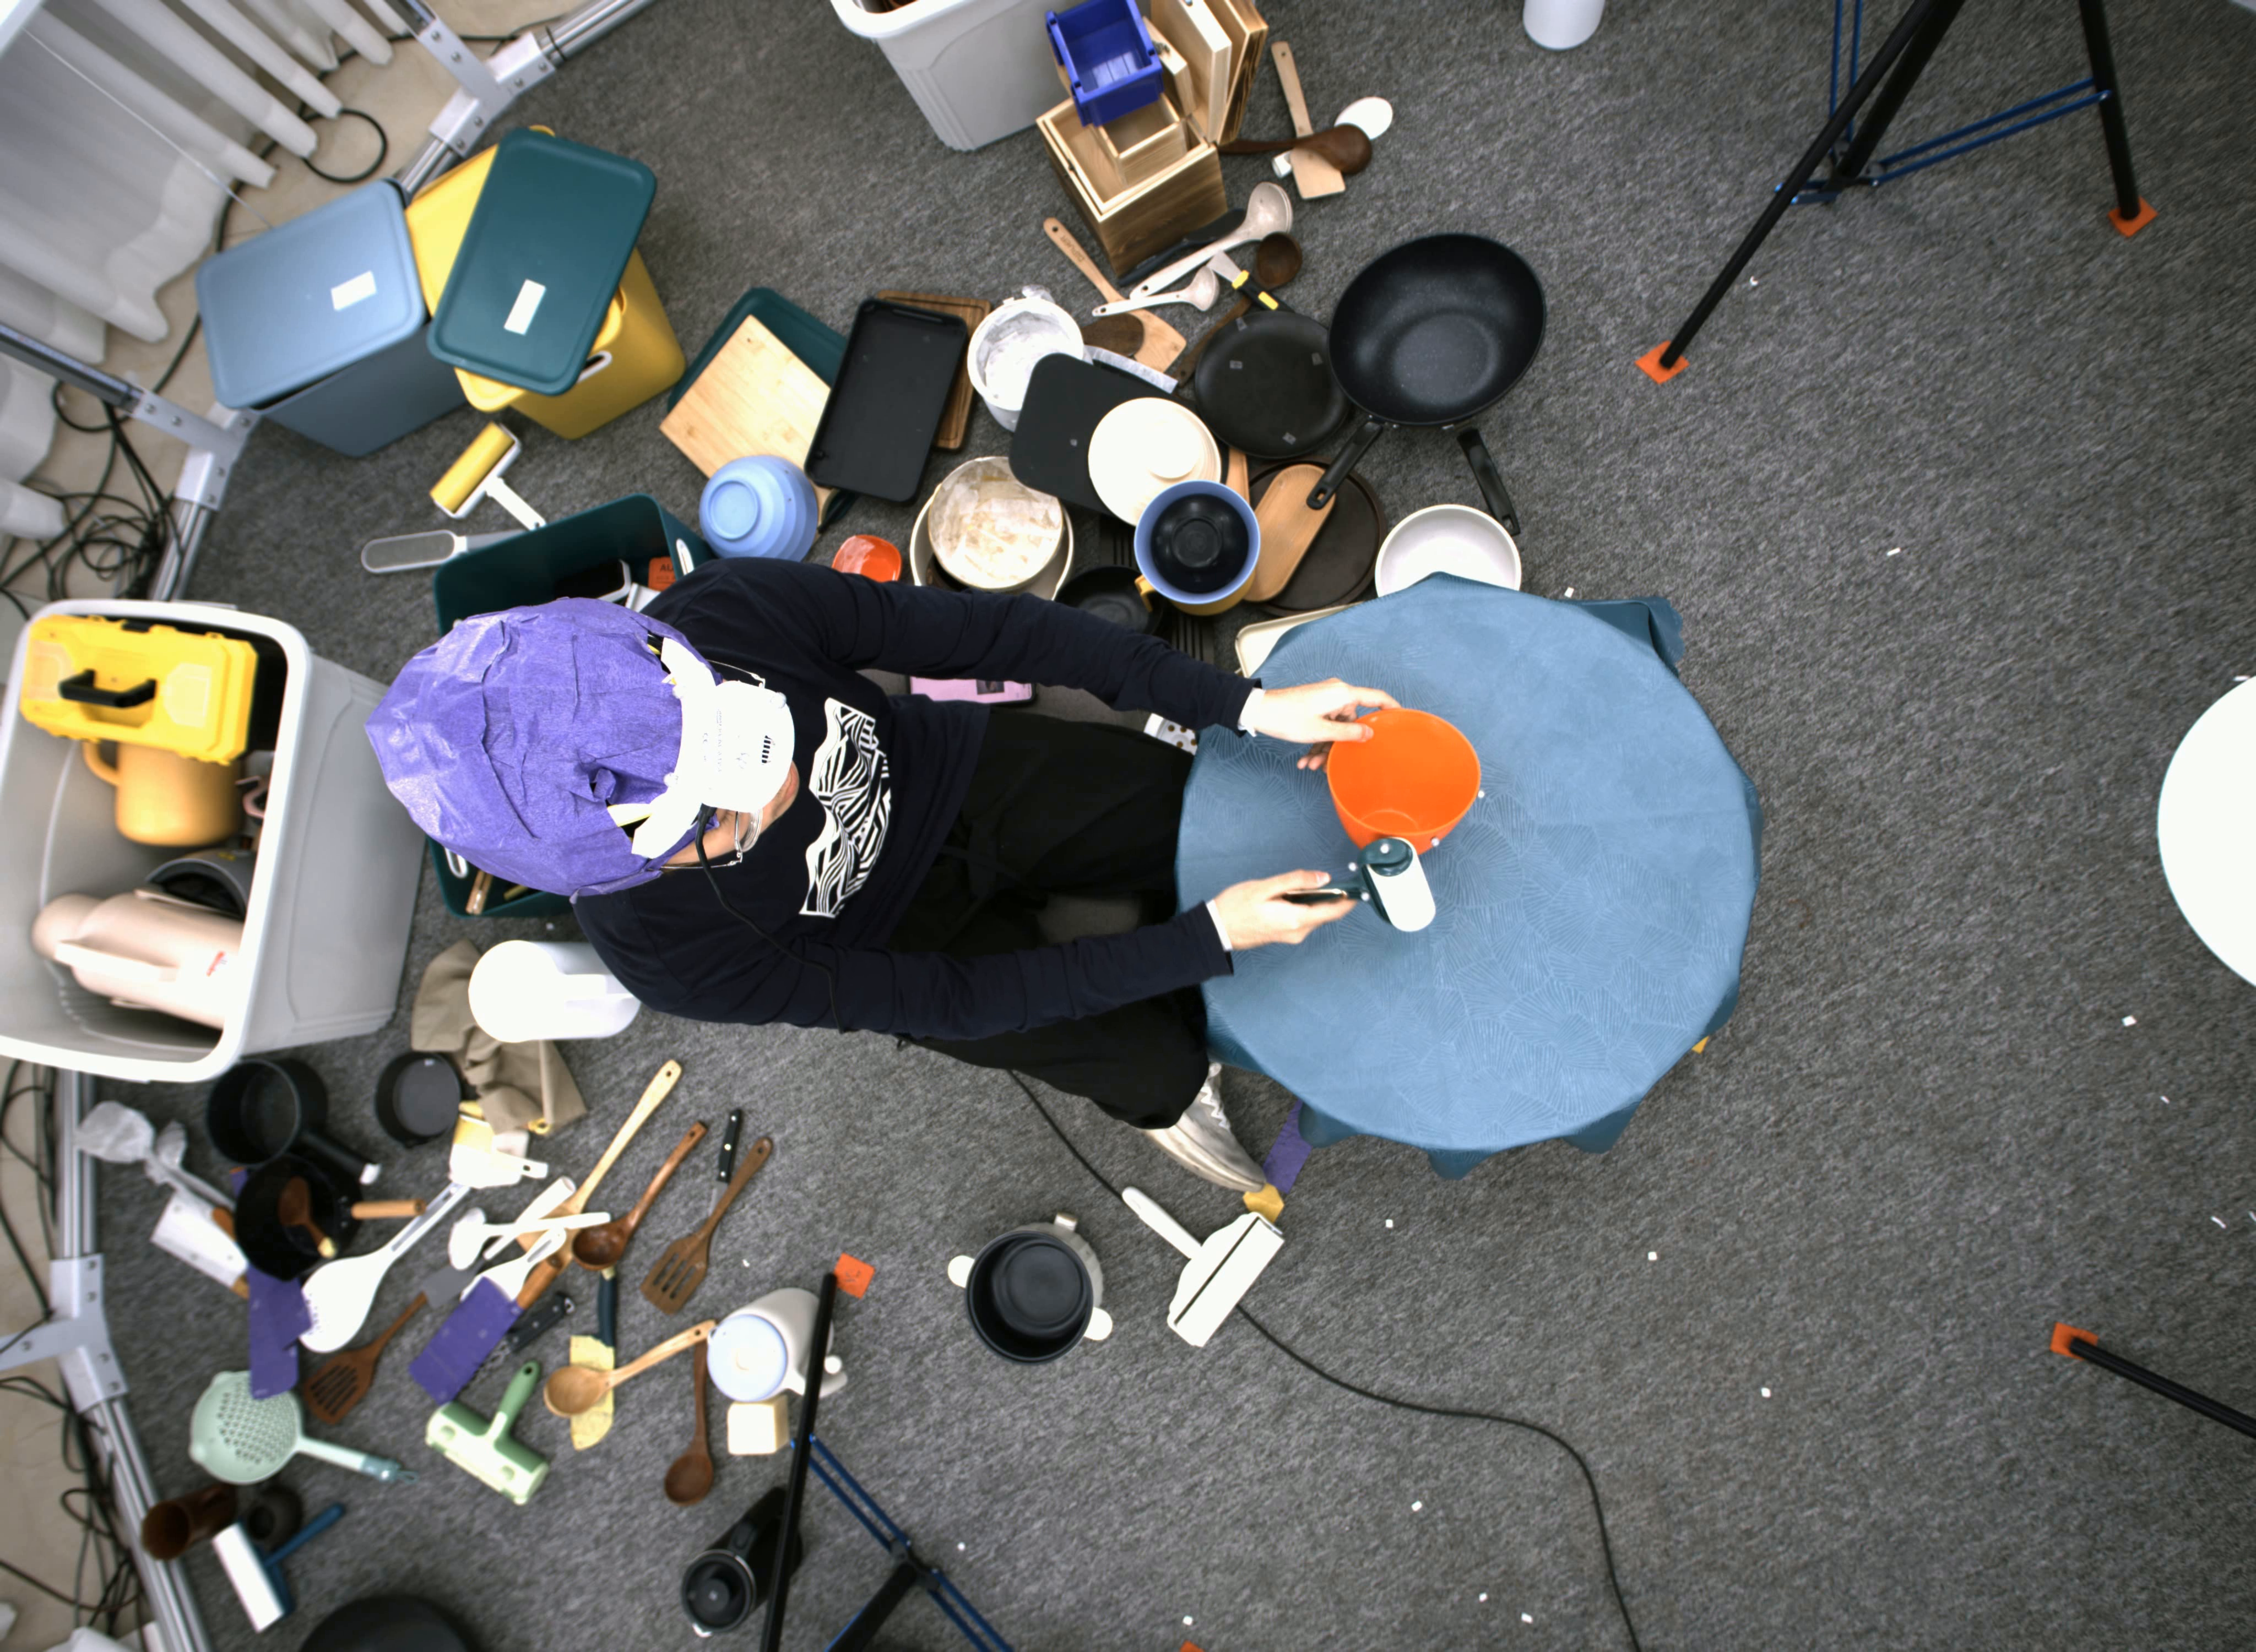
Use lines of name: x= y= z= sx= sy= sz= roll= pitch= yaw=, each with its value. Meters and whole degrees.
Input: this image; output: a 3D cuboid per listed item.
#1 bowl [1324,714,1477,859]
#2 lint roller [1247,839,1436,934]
bowl: x=0.267 y=-0.025 z=1.372 sx=0.148 sy=0.107 sz=0.144 roll=-2 pitch=51 yaw=2
lint roller: x=0.203 y=0.071 z=1.357 sx=0.181 sy=0.136 sz=0.047 roll=-12 pitch=52 yaw=18
